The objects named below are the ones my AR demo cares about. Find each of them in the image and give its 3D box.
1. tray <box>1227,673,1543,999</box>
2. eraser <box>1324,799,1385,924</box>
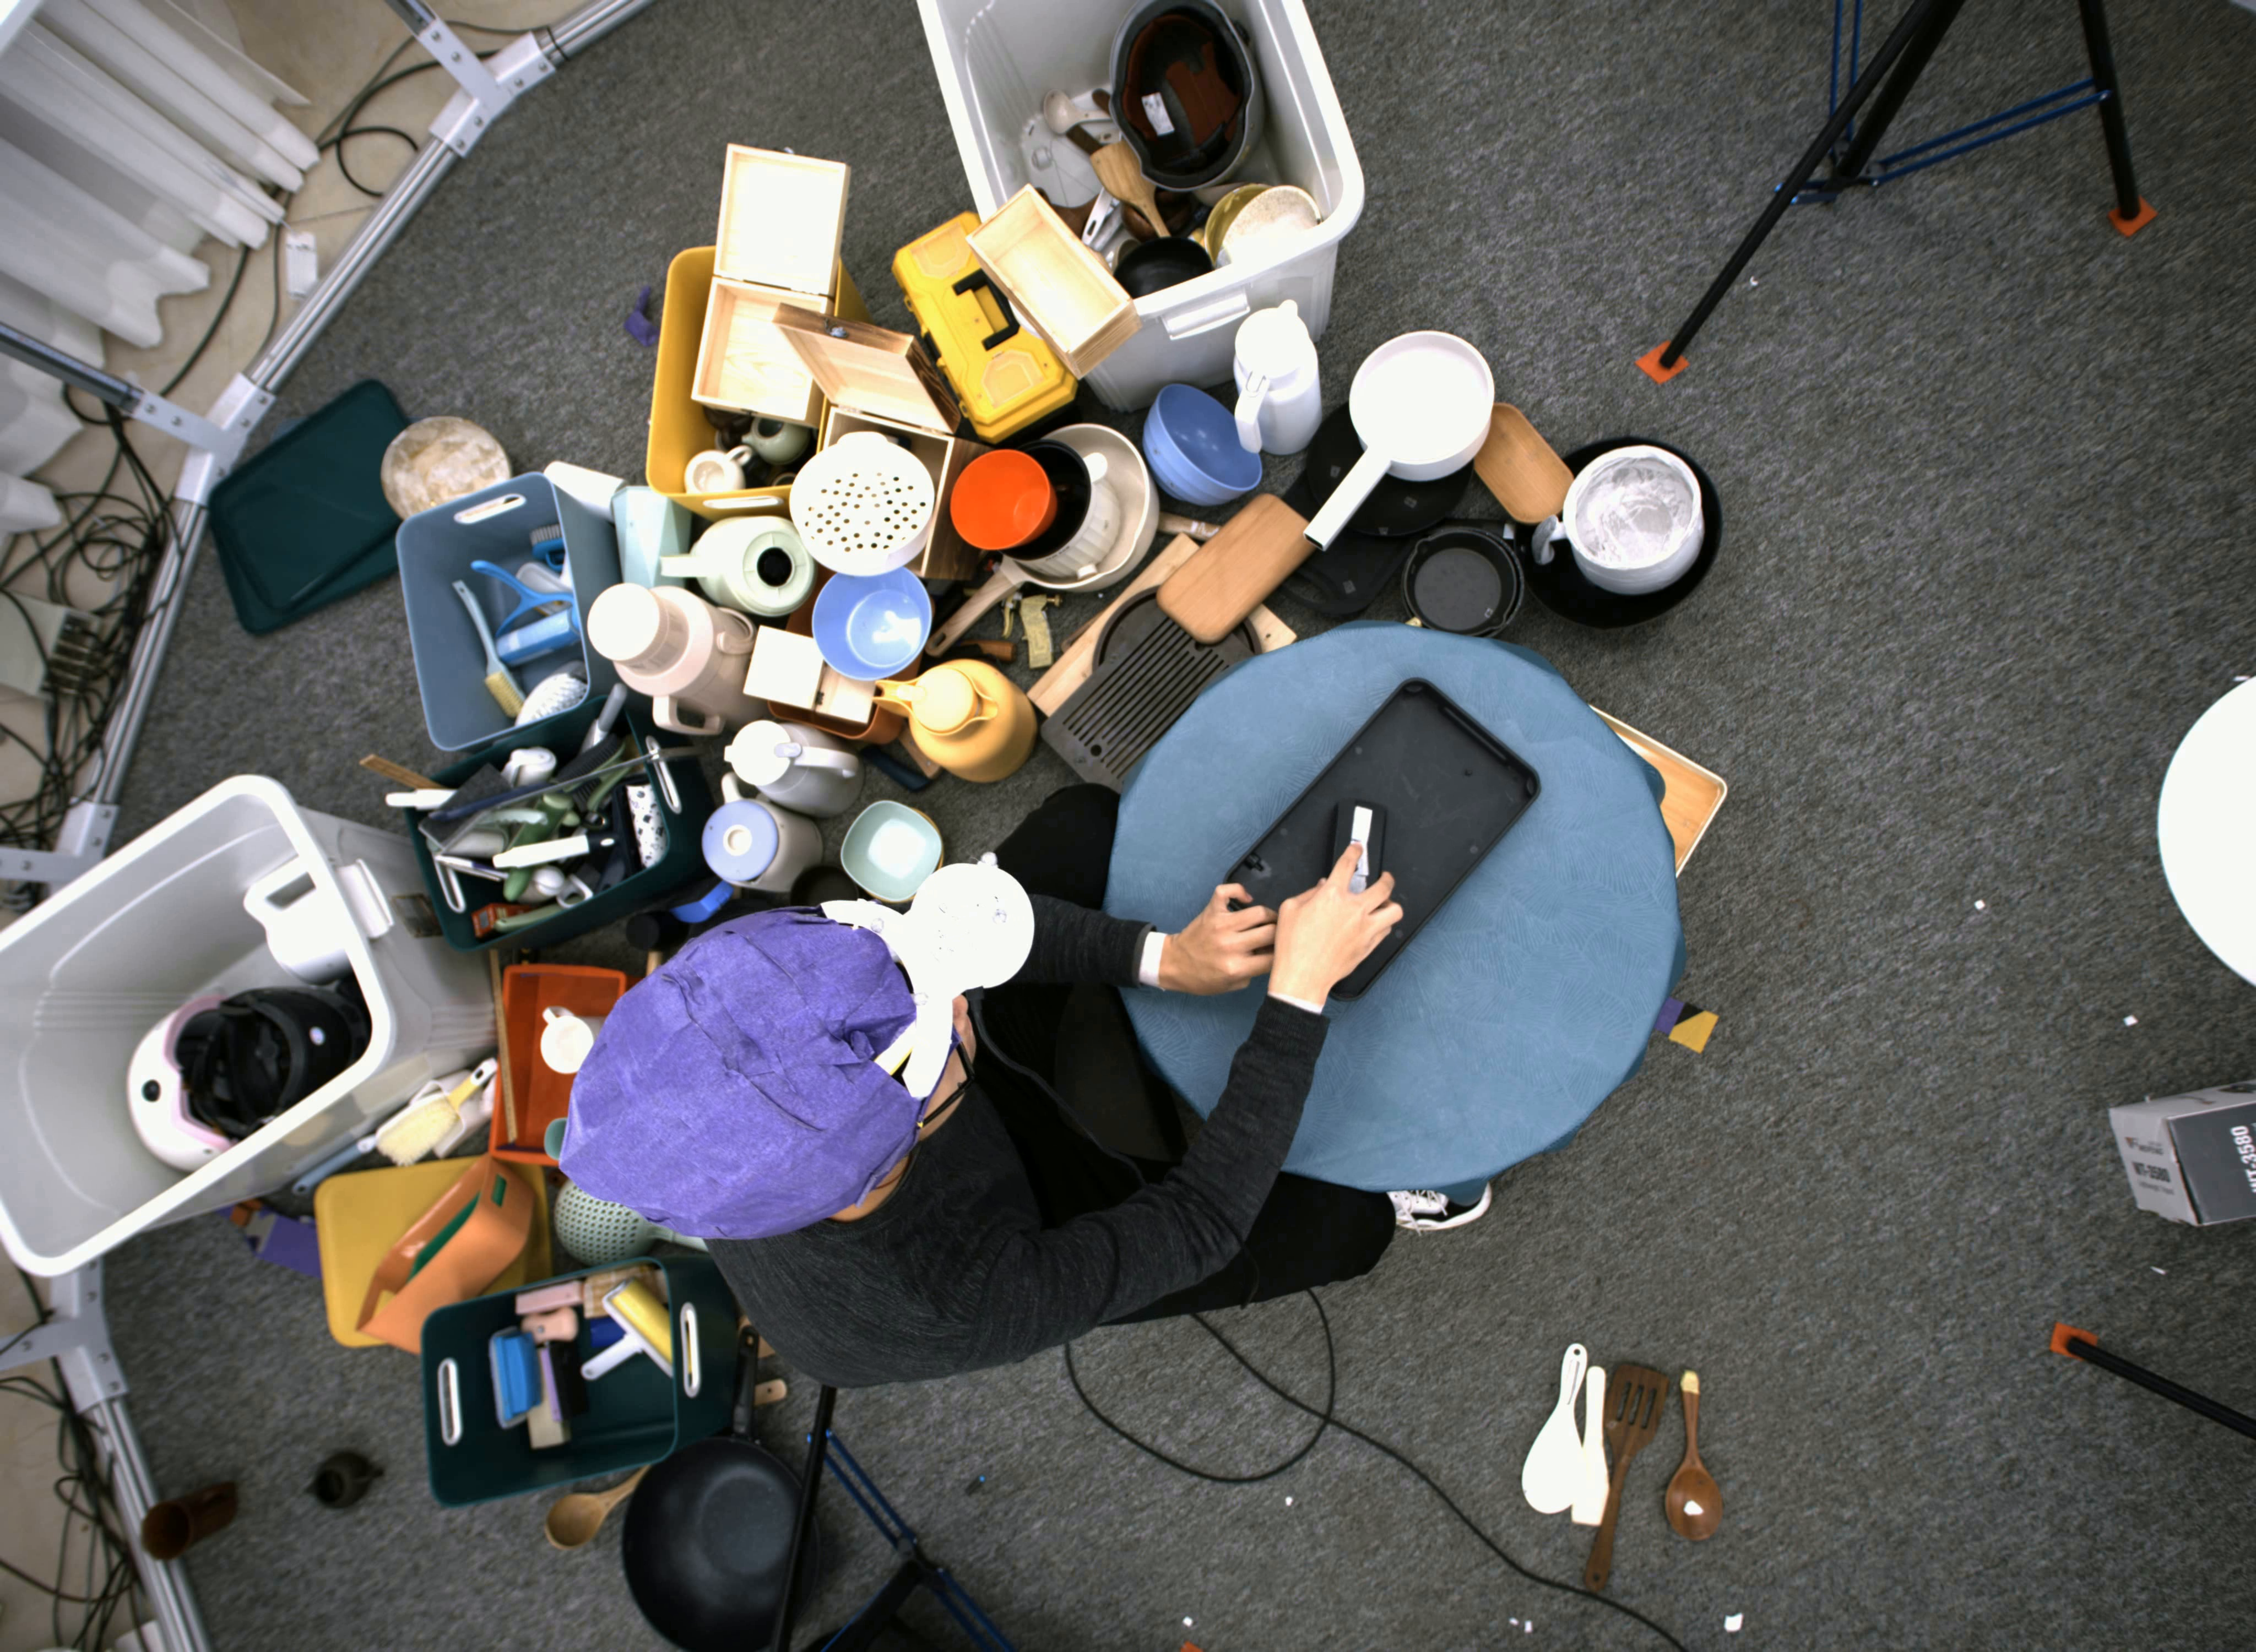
[{"bbox_3d":[0.263,0.008,1.417,0.184,0.037,0.316,41,84,8],"label":"tray"},{"bbox_3d":[0.228,0.034,1.391,0.053,0.031,0.123,6,71,4],"label":"eraser"}]
